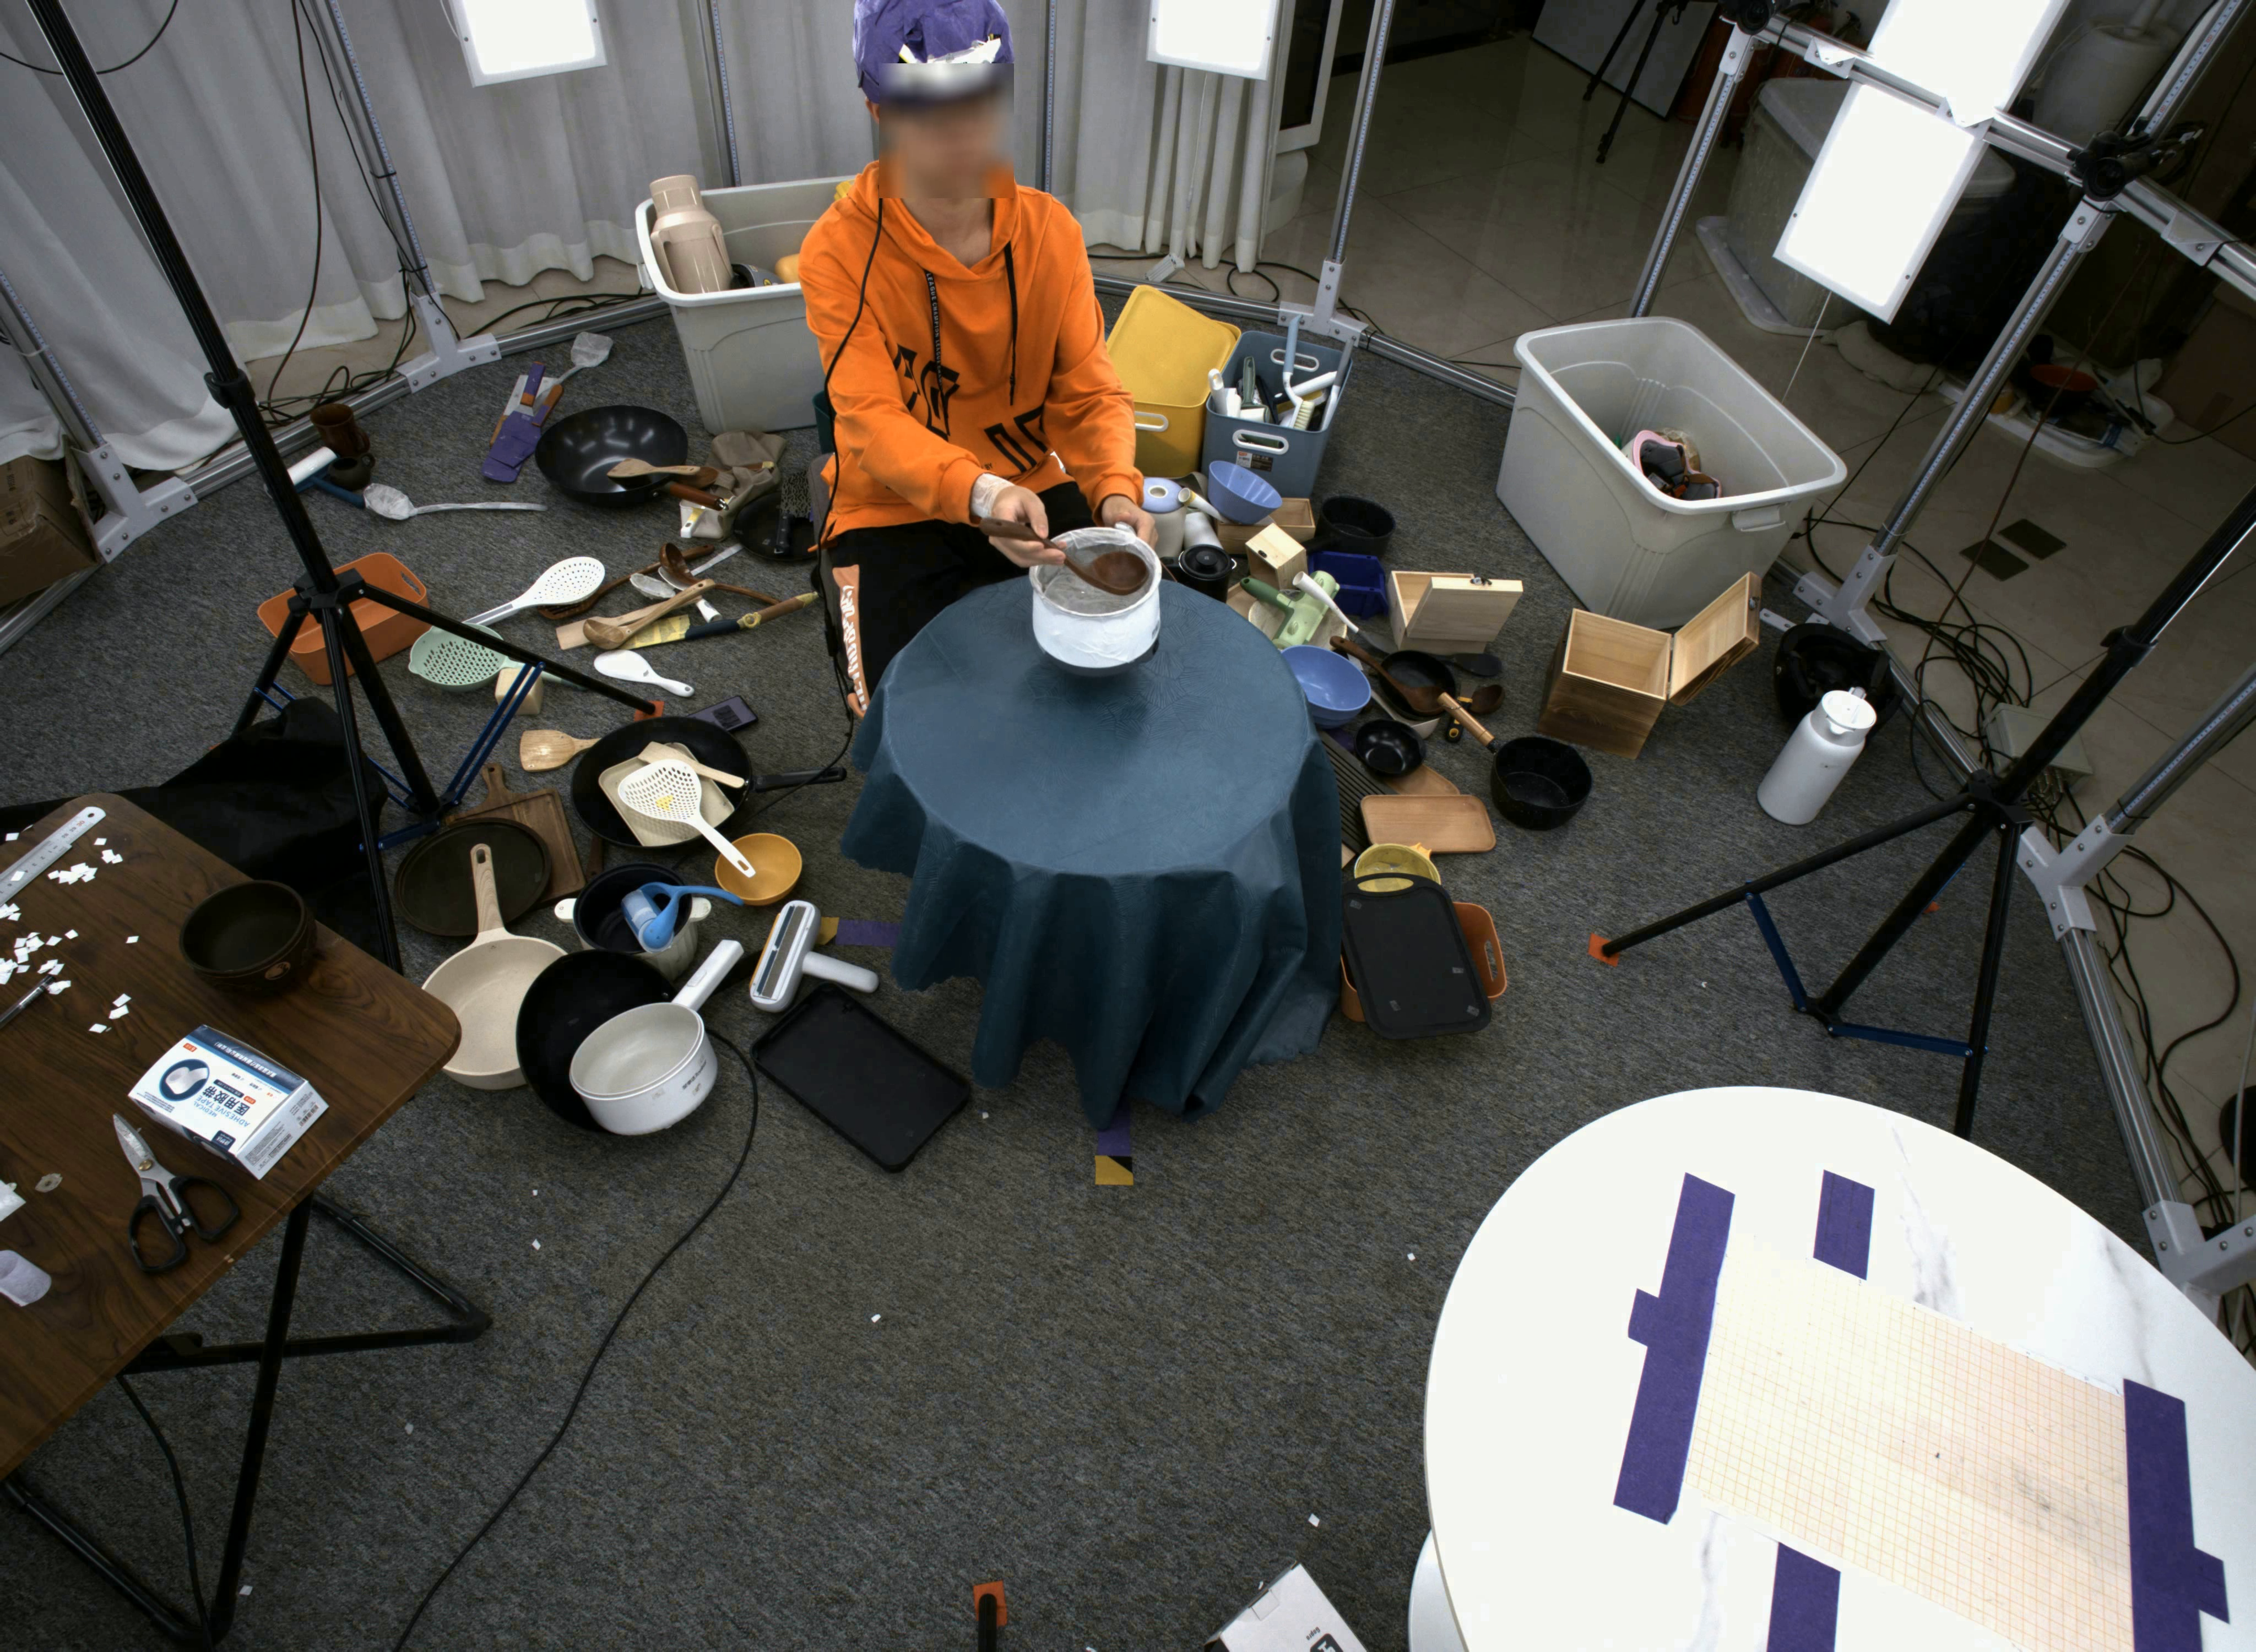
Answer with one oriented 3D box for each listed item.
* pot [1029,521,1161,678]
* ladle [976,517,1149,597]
[{"bbox_3d":[-0.035,-0.325,1.786,0.179,0.133,0.238,15,53,11],"label":"pot"},{"bbox_3d":[-0.079,-0.359,1.663,0.257,0.064,0.078,18,37,-43],"label":"ladle"}]
